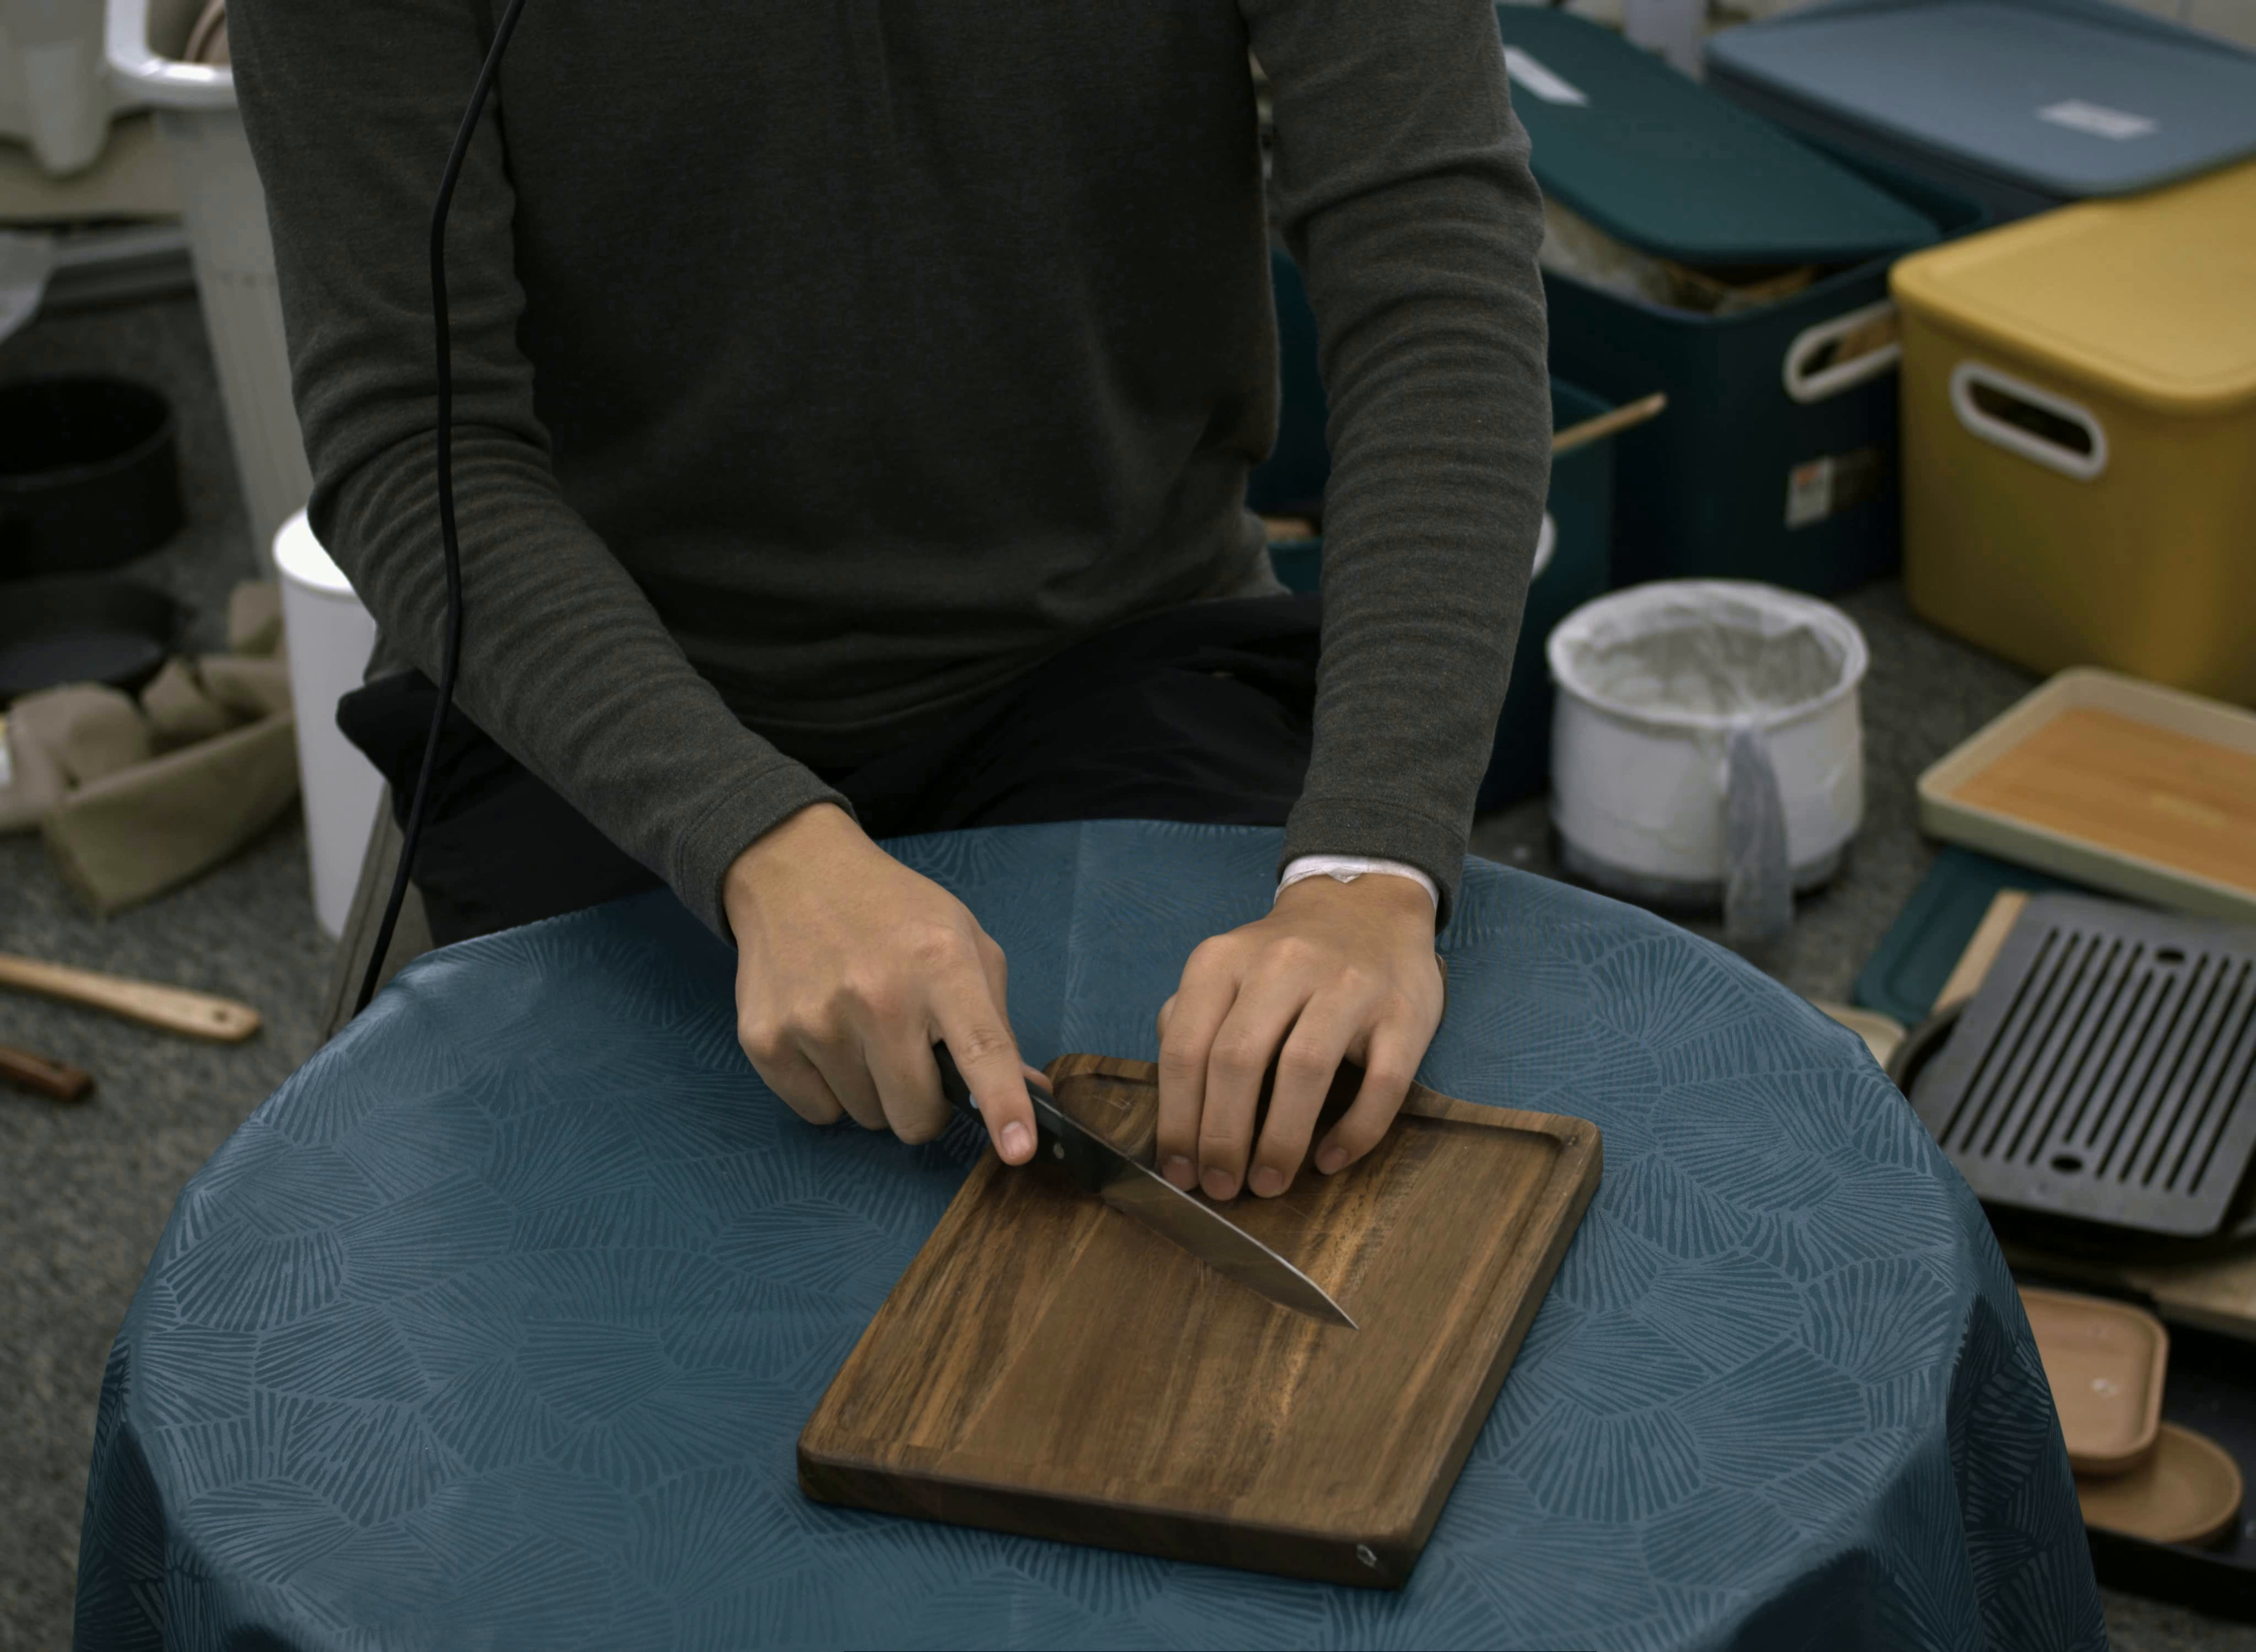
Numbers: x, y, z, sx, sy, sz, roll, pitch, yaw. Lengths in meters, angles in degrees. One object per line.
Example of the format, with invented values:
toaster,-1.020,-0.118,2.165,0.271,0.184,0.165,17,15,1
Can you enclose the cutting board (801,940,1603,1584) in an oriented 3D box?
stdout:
cutting board,0.043,0.128,1.823,0.199,0.023,0.358,6,28,17

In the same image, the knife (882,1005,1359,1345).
knife,-0.004,0.111,1.816,0.016,0.024,0.238,-19,35,-35
